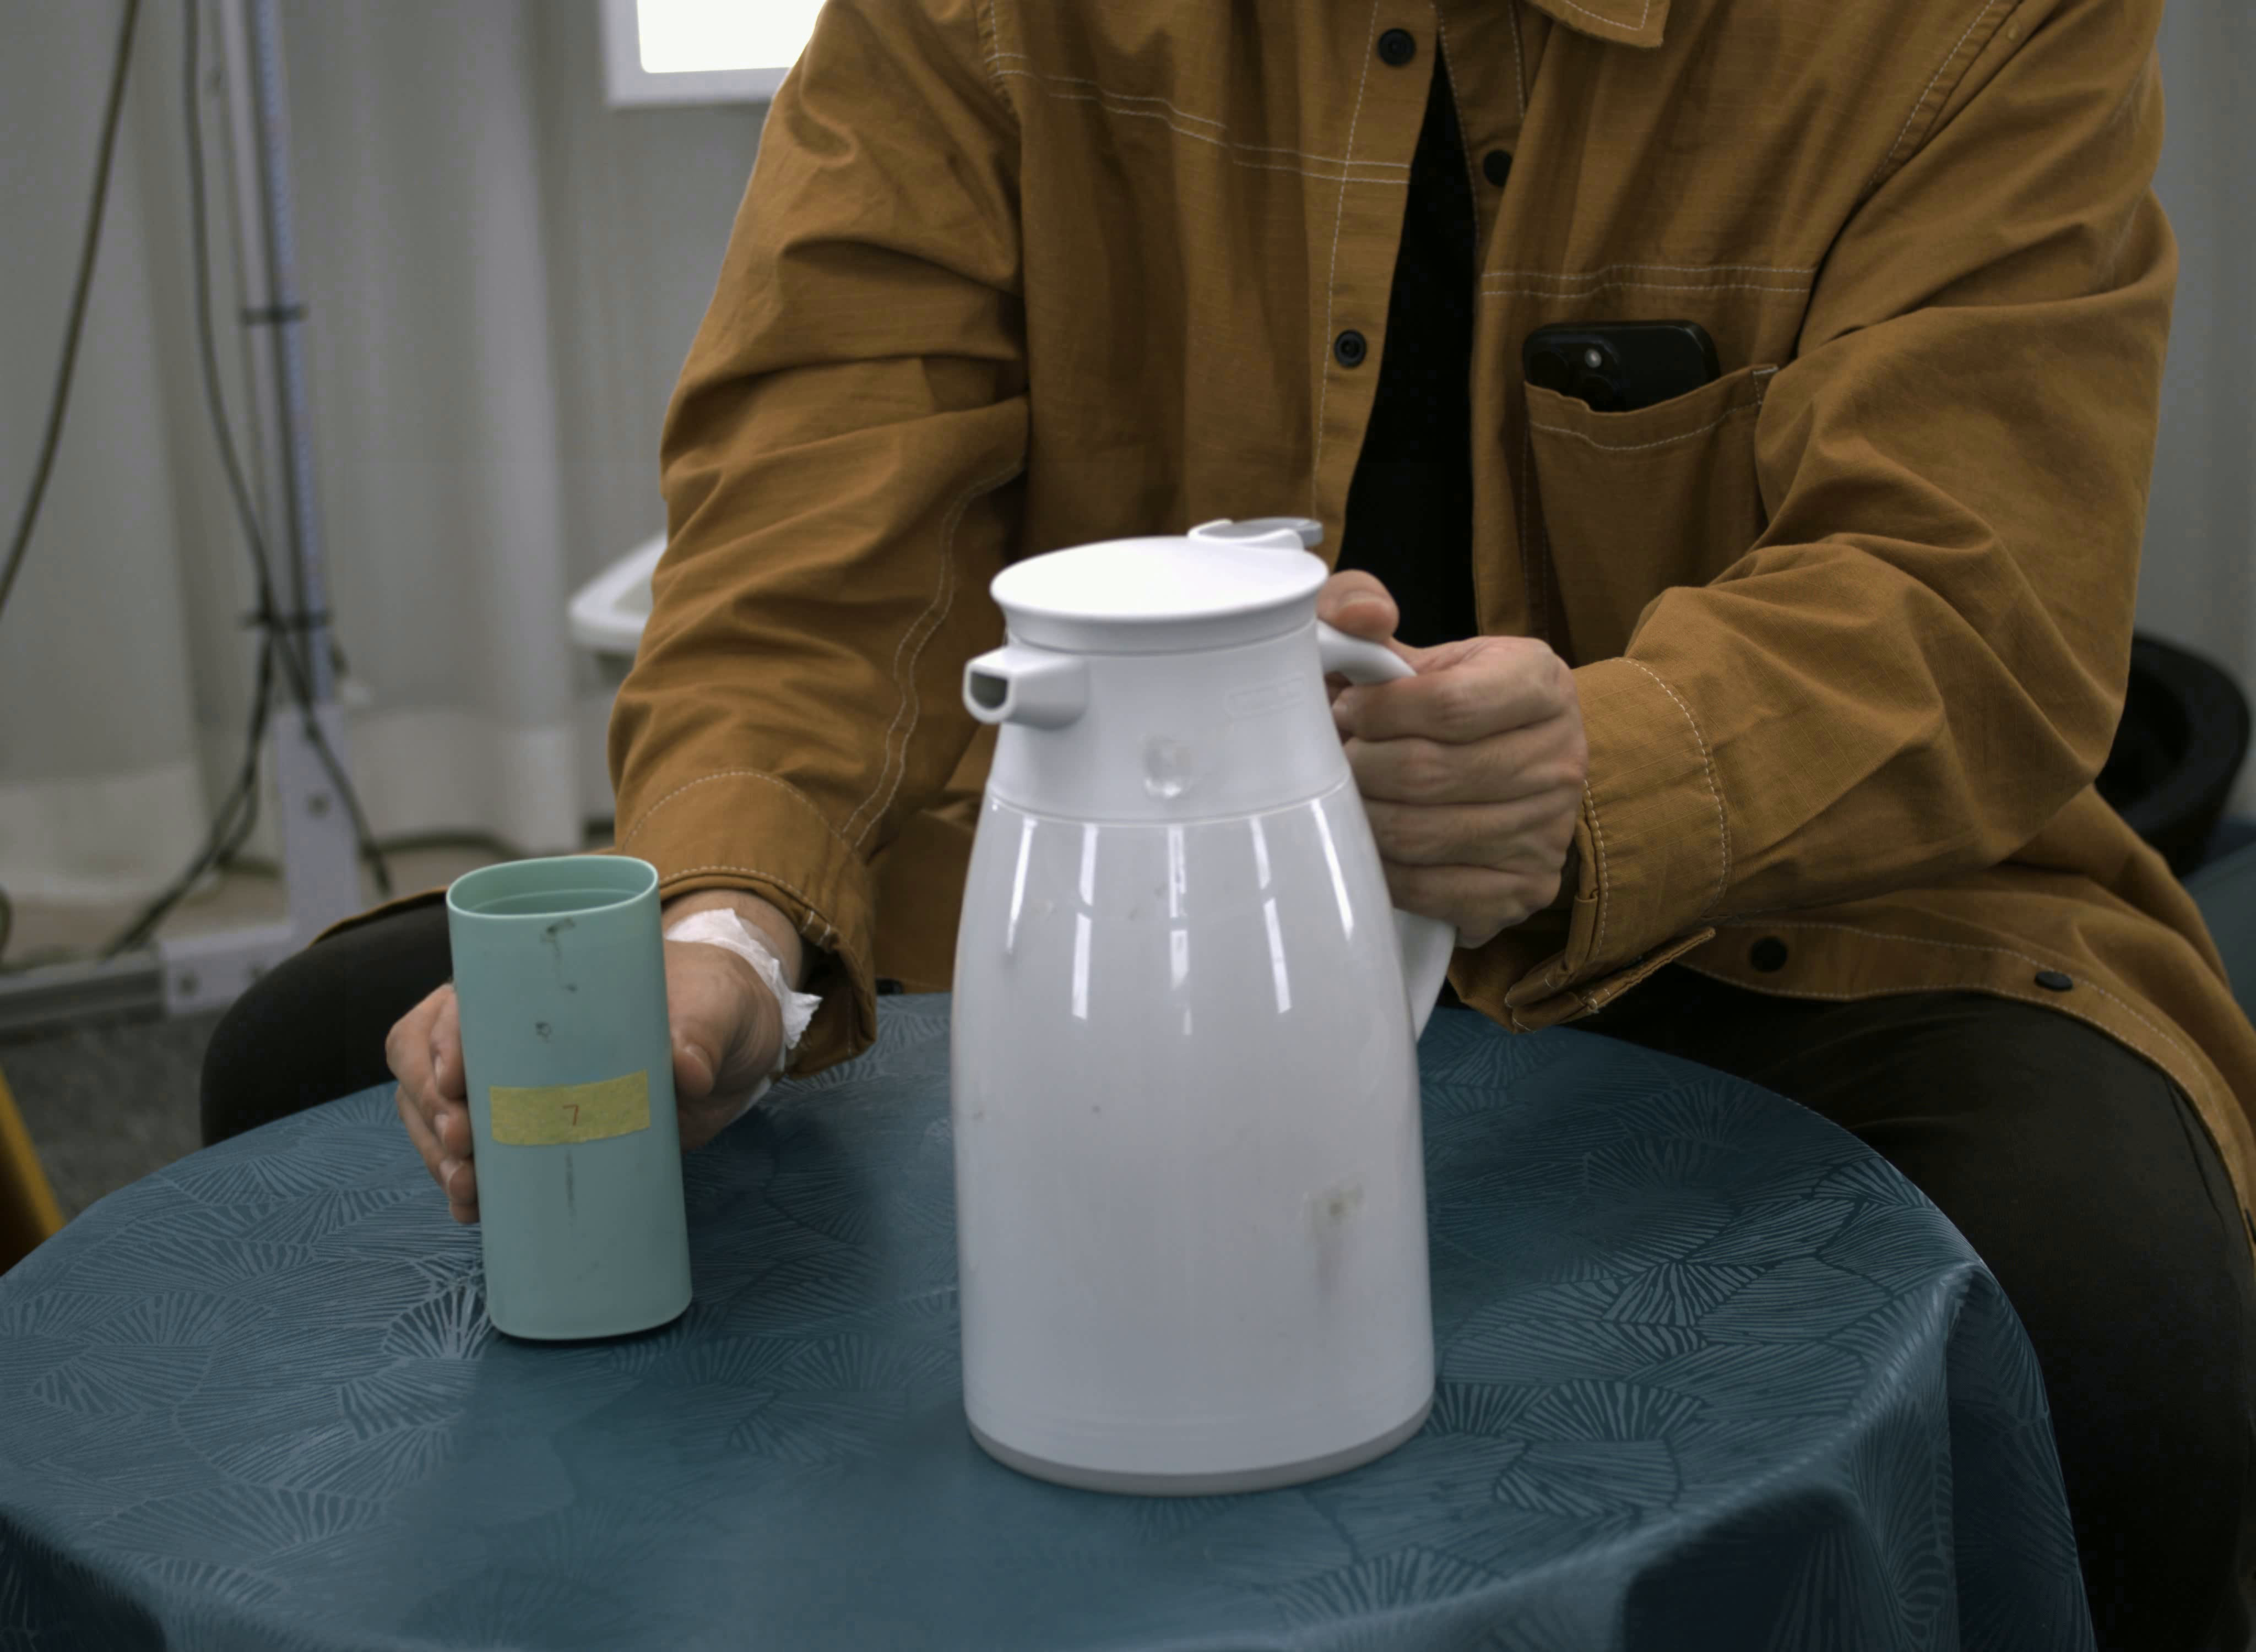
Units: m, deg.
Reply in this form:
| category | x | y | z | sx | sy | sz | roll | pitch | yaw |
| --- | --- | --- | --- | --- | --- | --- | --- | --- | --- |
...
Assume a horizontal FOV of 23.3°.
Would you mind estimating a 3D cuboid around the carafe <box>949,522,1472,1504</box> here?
| category | x | y | z | sx | sy | sz | roll | pitch | yaw |
| --- | --- | --- | --- | --- | --- | --- | --- | --- | --- |
| carafe | 0.028 | 0.042 | 1.511 | 0.167 | 0.247 | 0.133 | -13 | 18 | -39 |

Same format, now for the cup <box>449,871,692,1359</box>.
| category | x | y | z | sx | sy | sz | roll | pitch | yaw |
| --- | --- | --- | --- | --- | --- | --- | --- | --- | --- |
| cup | -0.163 | 0.084 | 1.613 | 0.066 | 0.132 | 0.067 | -3 | 14 | 1 |
